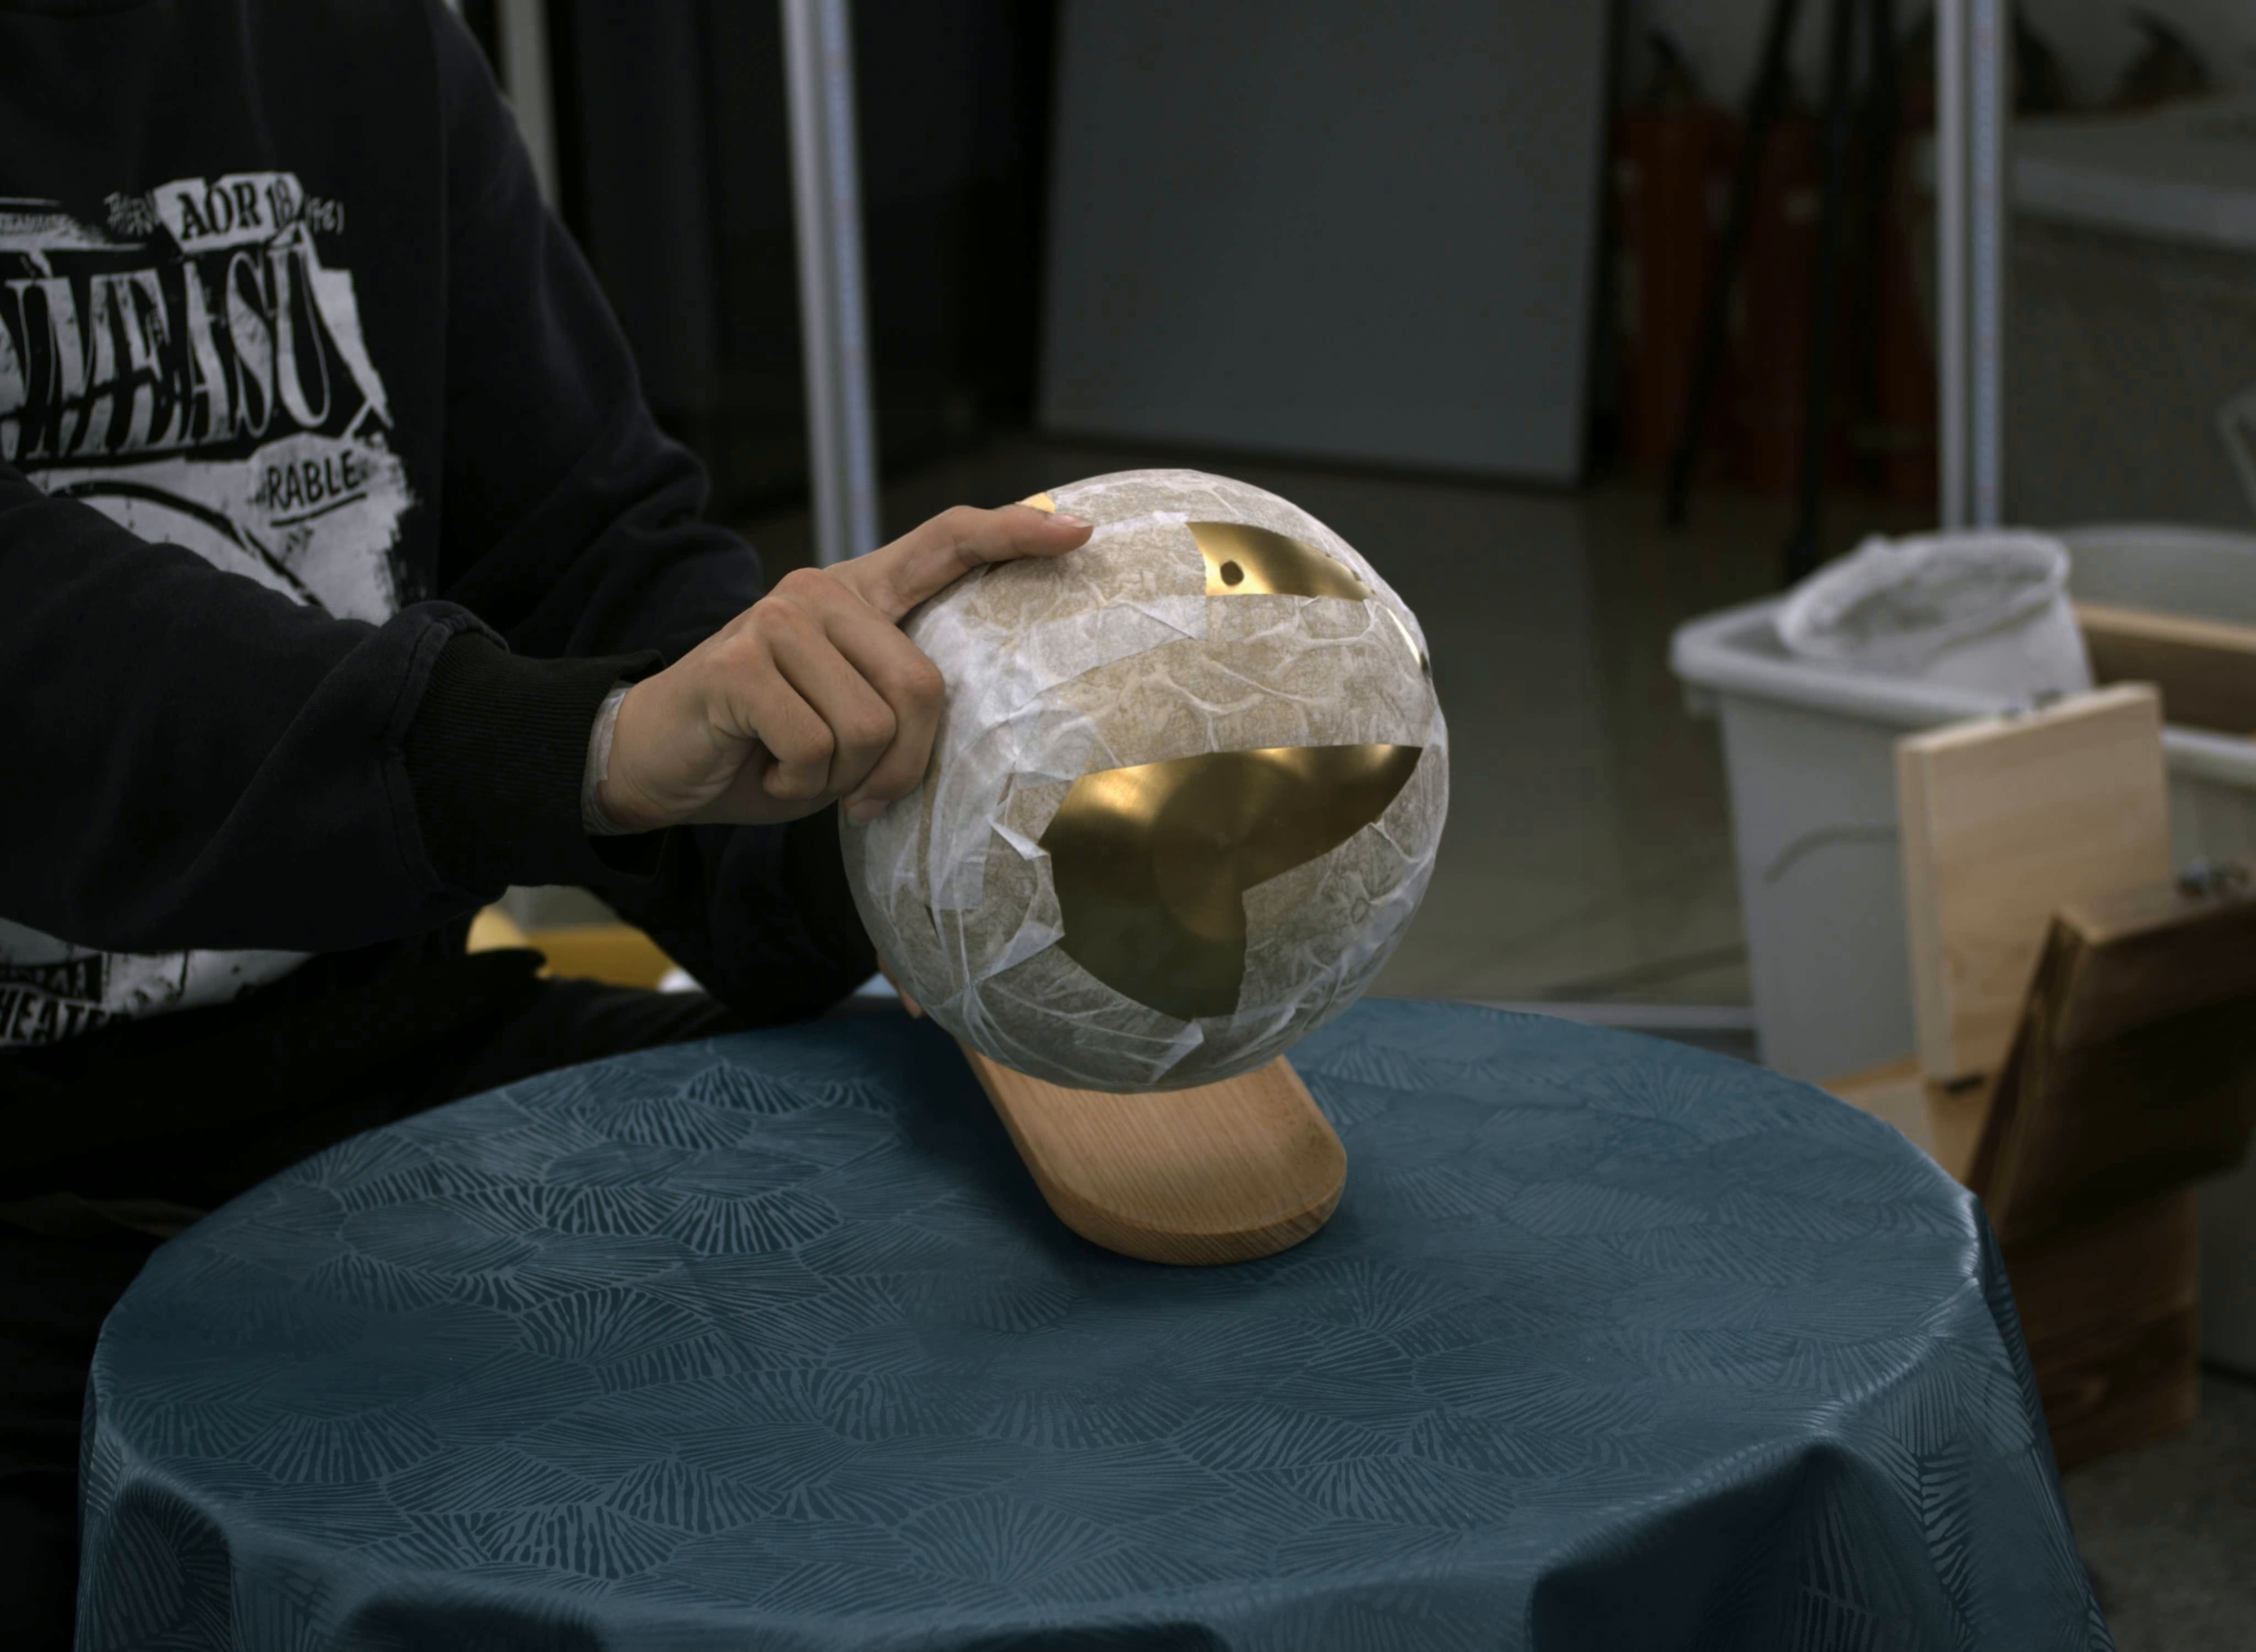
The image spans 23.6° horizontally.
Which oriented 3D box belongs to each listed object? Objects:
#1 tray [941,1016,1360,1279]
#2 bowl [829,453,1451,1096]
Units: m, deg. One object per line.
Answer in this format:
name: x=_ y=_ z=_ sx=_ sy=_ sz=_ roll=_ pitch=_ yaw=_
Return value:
tray: x=0.004 y=0.085 z=1.784 sx=0.100 sy=0.020 sz=0.233 roll=-9 pitch=30 yaw=-15
bowl: x=0.017 y=-0.003 z=1.668 sx=0.210 sy=0.217 sz=0.095 roll=-8 pitch=17 yaw=-19
